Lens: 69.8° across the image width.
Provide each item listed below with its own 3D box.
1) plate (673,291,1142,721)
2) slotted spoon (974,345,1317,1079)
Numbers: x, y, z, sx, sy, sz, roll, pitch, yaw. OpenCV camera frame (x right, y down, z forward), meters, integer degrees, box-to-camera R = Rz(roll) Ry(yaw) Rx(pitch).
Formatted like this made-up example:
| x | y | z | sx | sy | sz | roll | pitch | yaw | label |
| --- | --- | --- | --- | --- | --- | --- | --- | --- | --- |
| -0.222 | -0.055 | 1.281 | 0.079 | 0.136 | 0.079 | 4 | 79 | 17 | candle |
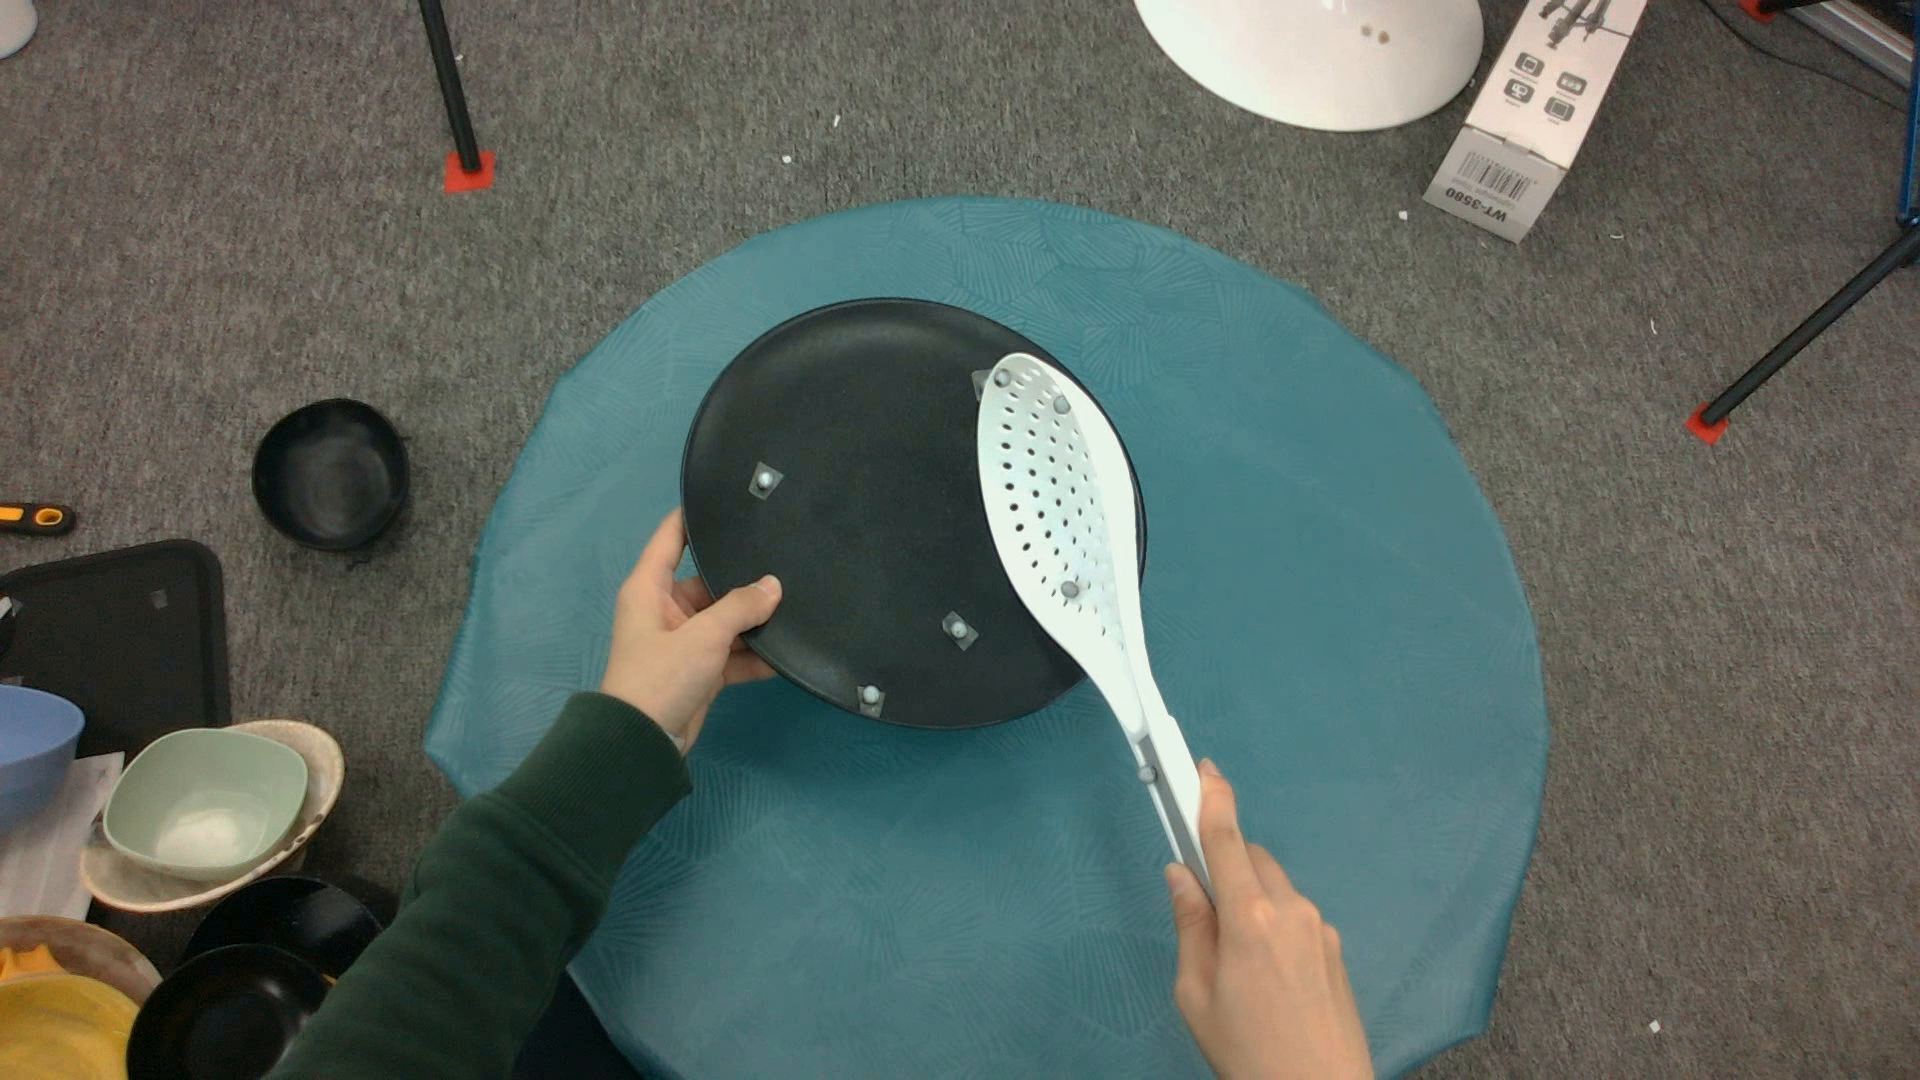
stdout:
| x | y | z | sx | sy | sz | roll | pitch | yaw | label |
| --- | --- | --- | --- | --- | --- | --- | --- | --- | --- |
| -0.024 | -0.021 | 0.704 | 0.244 | 0.023 | 0.245 | 7 | 63 | -14 | plate |
| 0.077 | 0.068 | 0.611 | 0.046 | 0.135 | 0.350 | -9 | 67 | -17 | slotted spoon |
